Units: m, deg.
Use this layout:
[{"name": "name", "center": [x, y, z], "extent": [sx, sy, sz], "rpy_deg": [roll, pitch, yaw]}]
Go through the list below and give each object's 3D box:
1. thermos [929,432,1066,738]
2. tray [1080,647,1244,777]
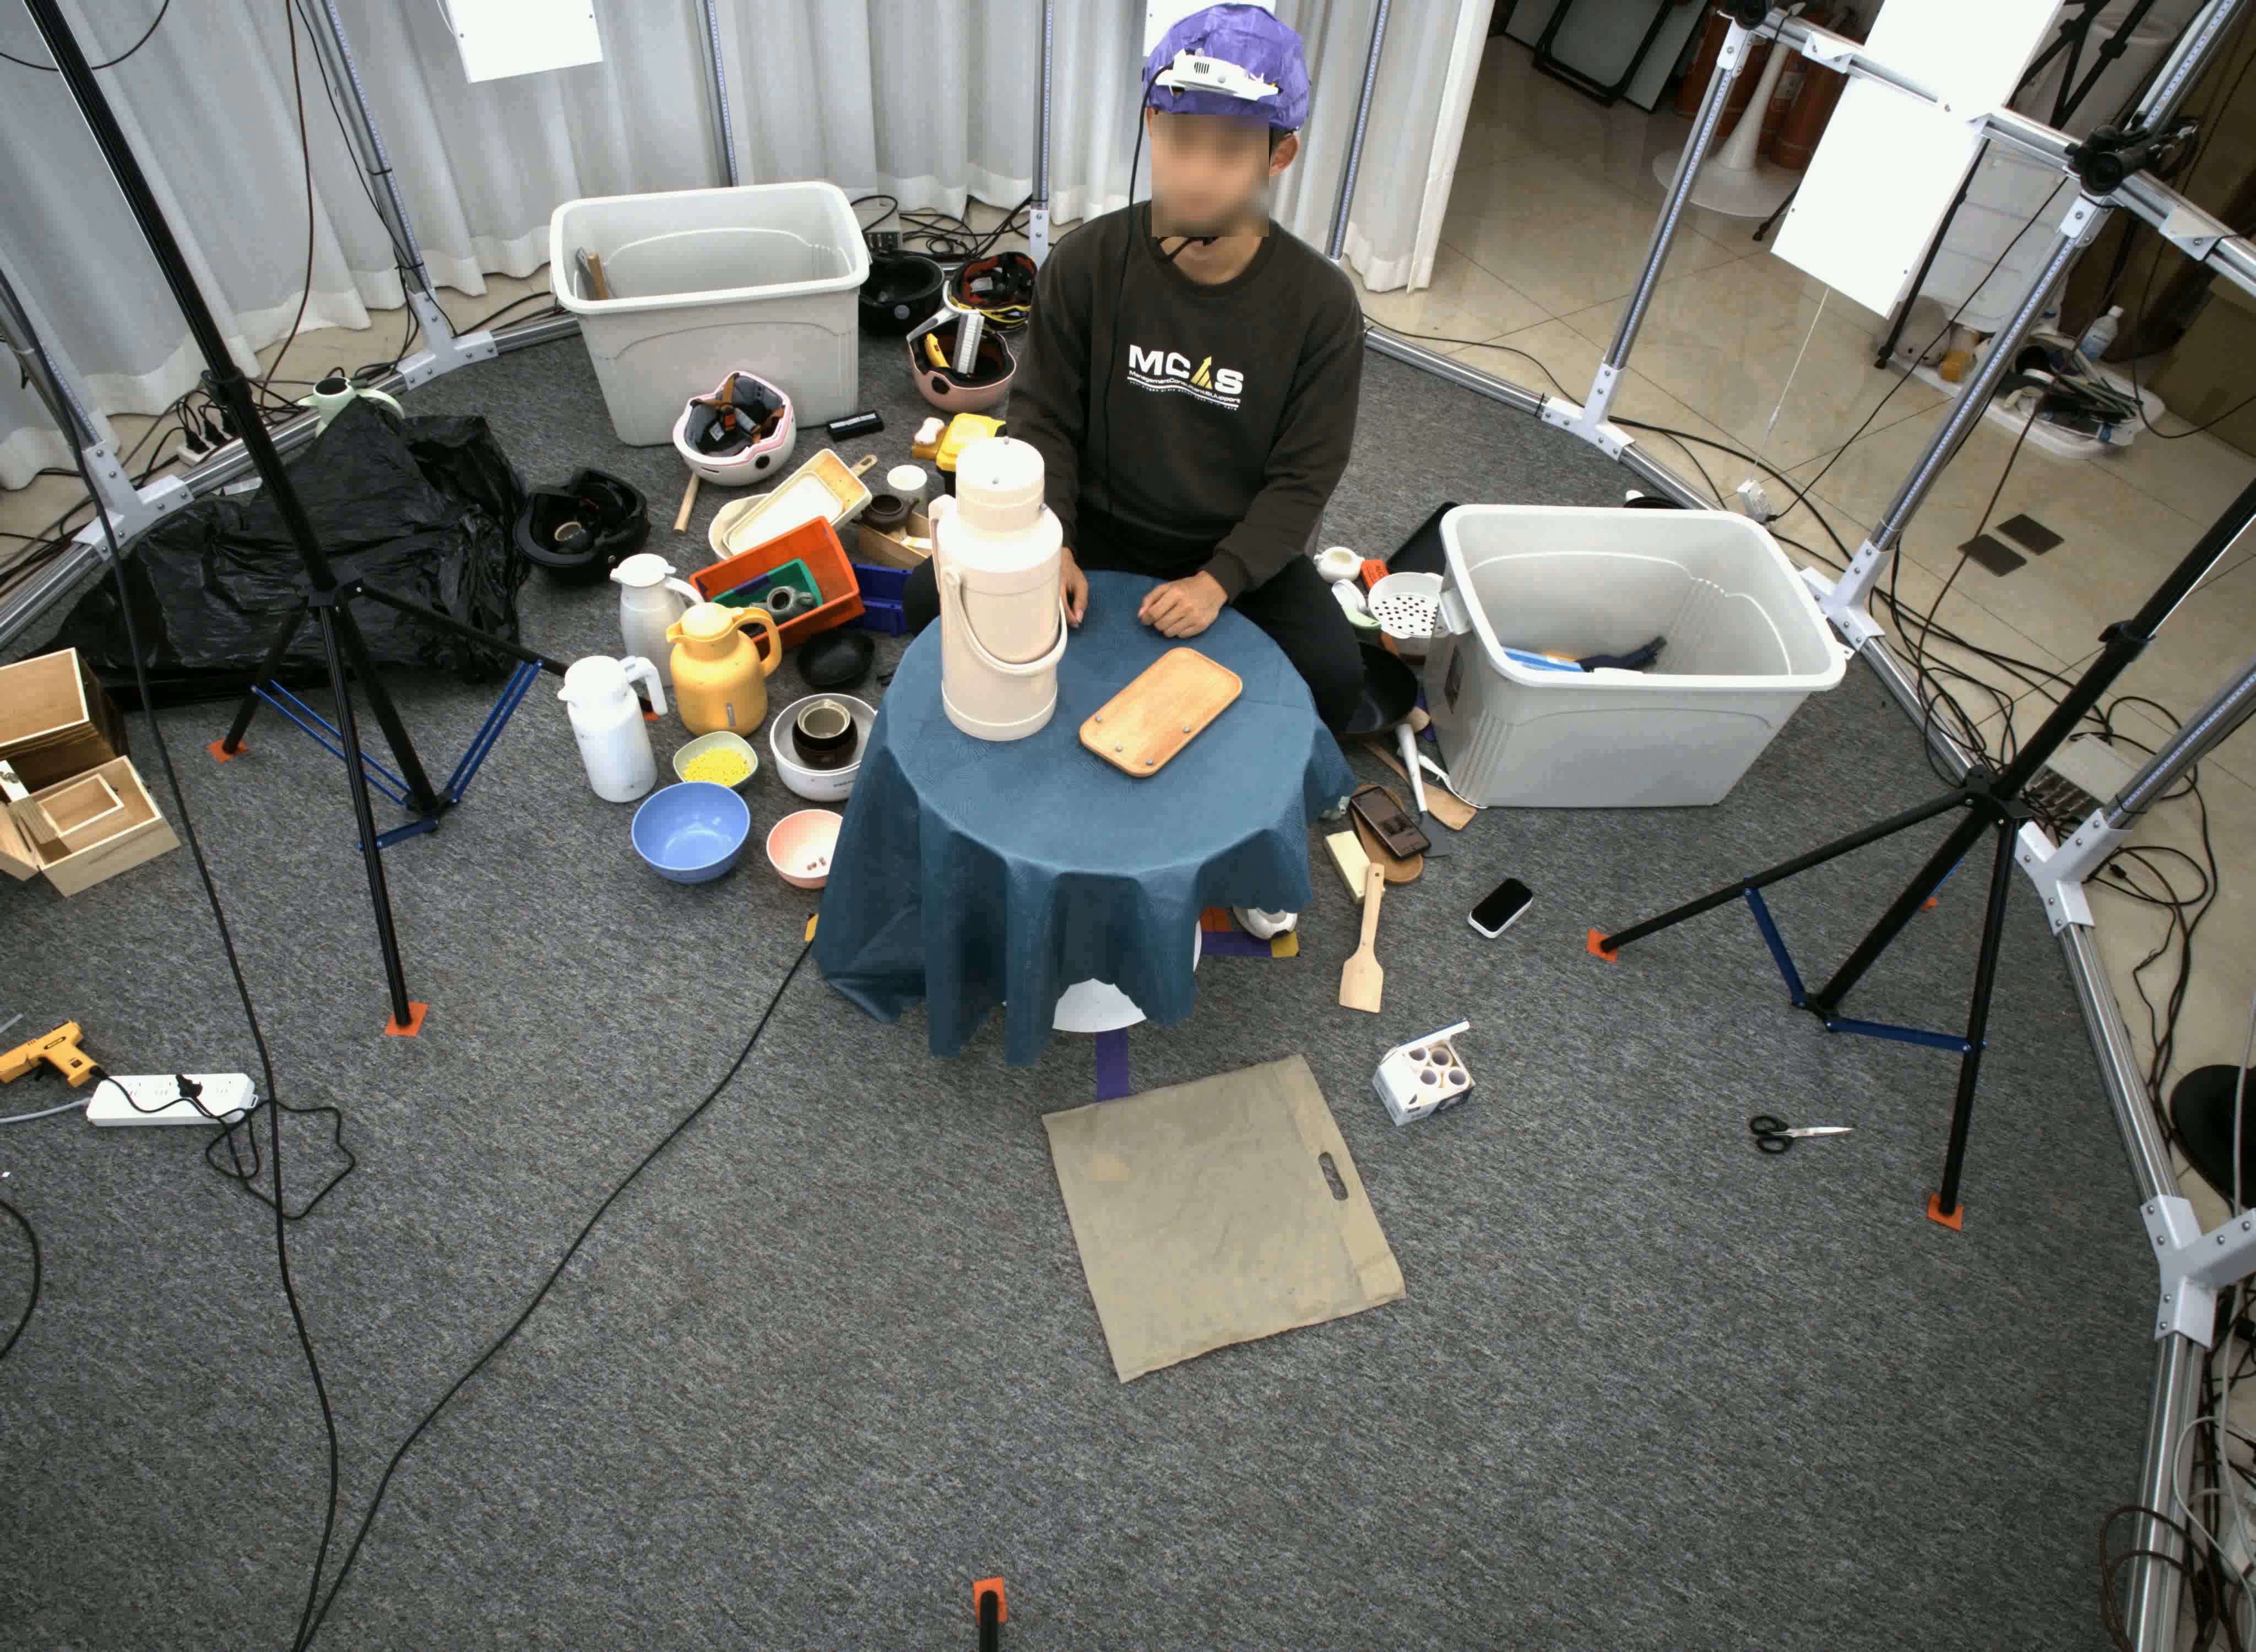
[{"name": "thermos", "center": [-0.174, -0.313, 1.668], "extent": [0.210, 0.396, 0.177], "rpy_deg": [35, 56, 23]}, {"name": "tray", "center": [0.050, -0.163, 1.799], "extent": [0.132, 0.022, 0.253], "rpy_deg": [35, 54, 21]}]
